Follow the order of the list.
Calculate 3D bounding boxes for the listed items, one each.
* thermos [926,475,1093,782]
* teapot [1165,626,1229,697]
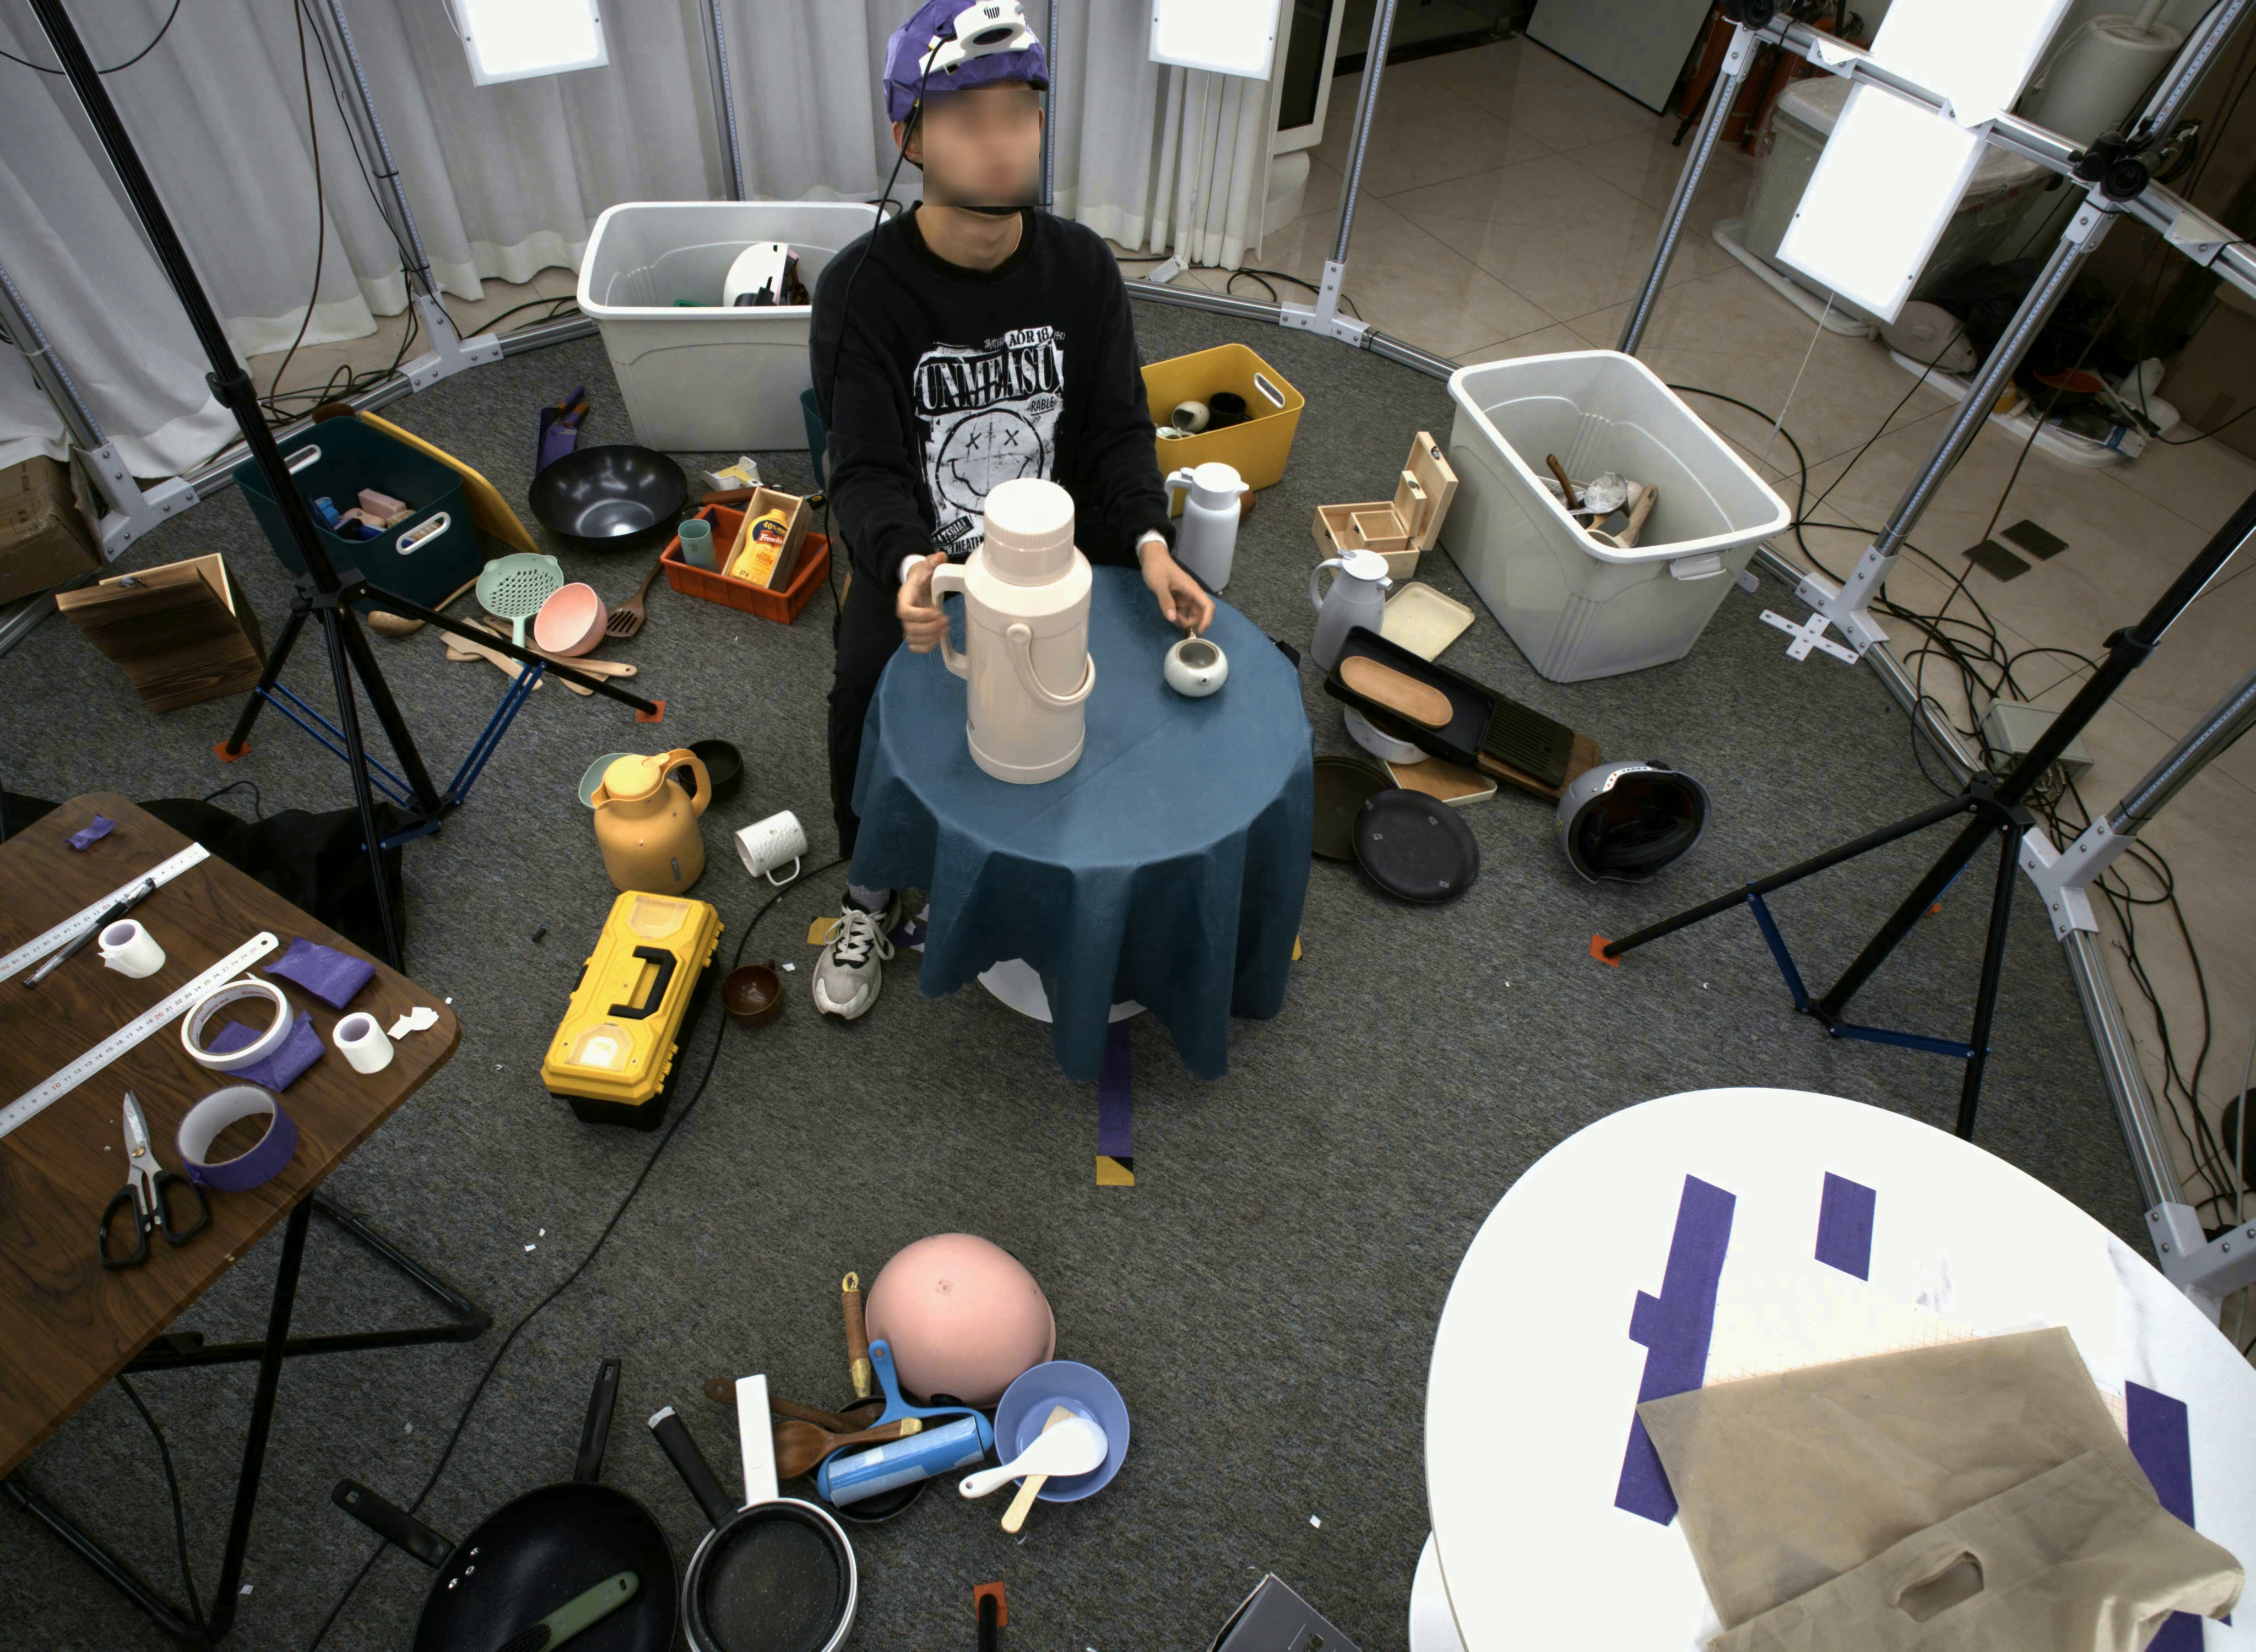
[{"bbox_3d":[-0.145,-0.245,1.617,0.207,0.396,0.179,5,51,-1],"label":"thermos"},{"bbox_3d":[0.097,-0.234,1.839,0.092,0.058,0.131,-9,51,-6],"label":"teapot"}]
